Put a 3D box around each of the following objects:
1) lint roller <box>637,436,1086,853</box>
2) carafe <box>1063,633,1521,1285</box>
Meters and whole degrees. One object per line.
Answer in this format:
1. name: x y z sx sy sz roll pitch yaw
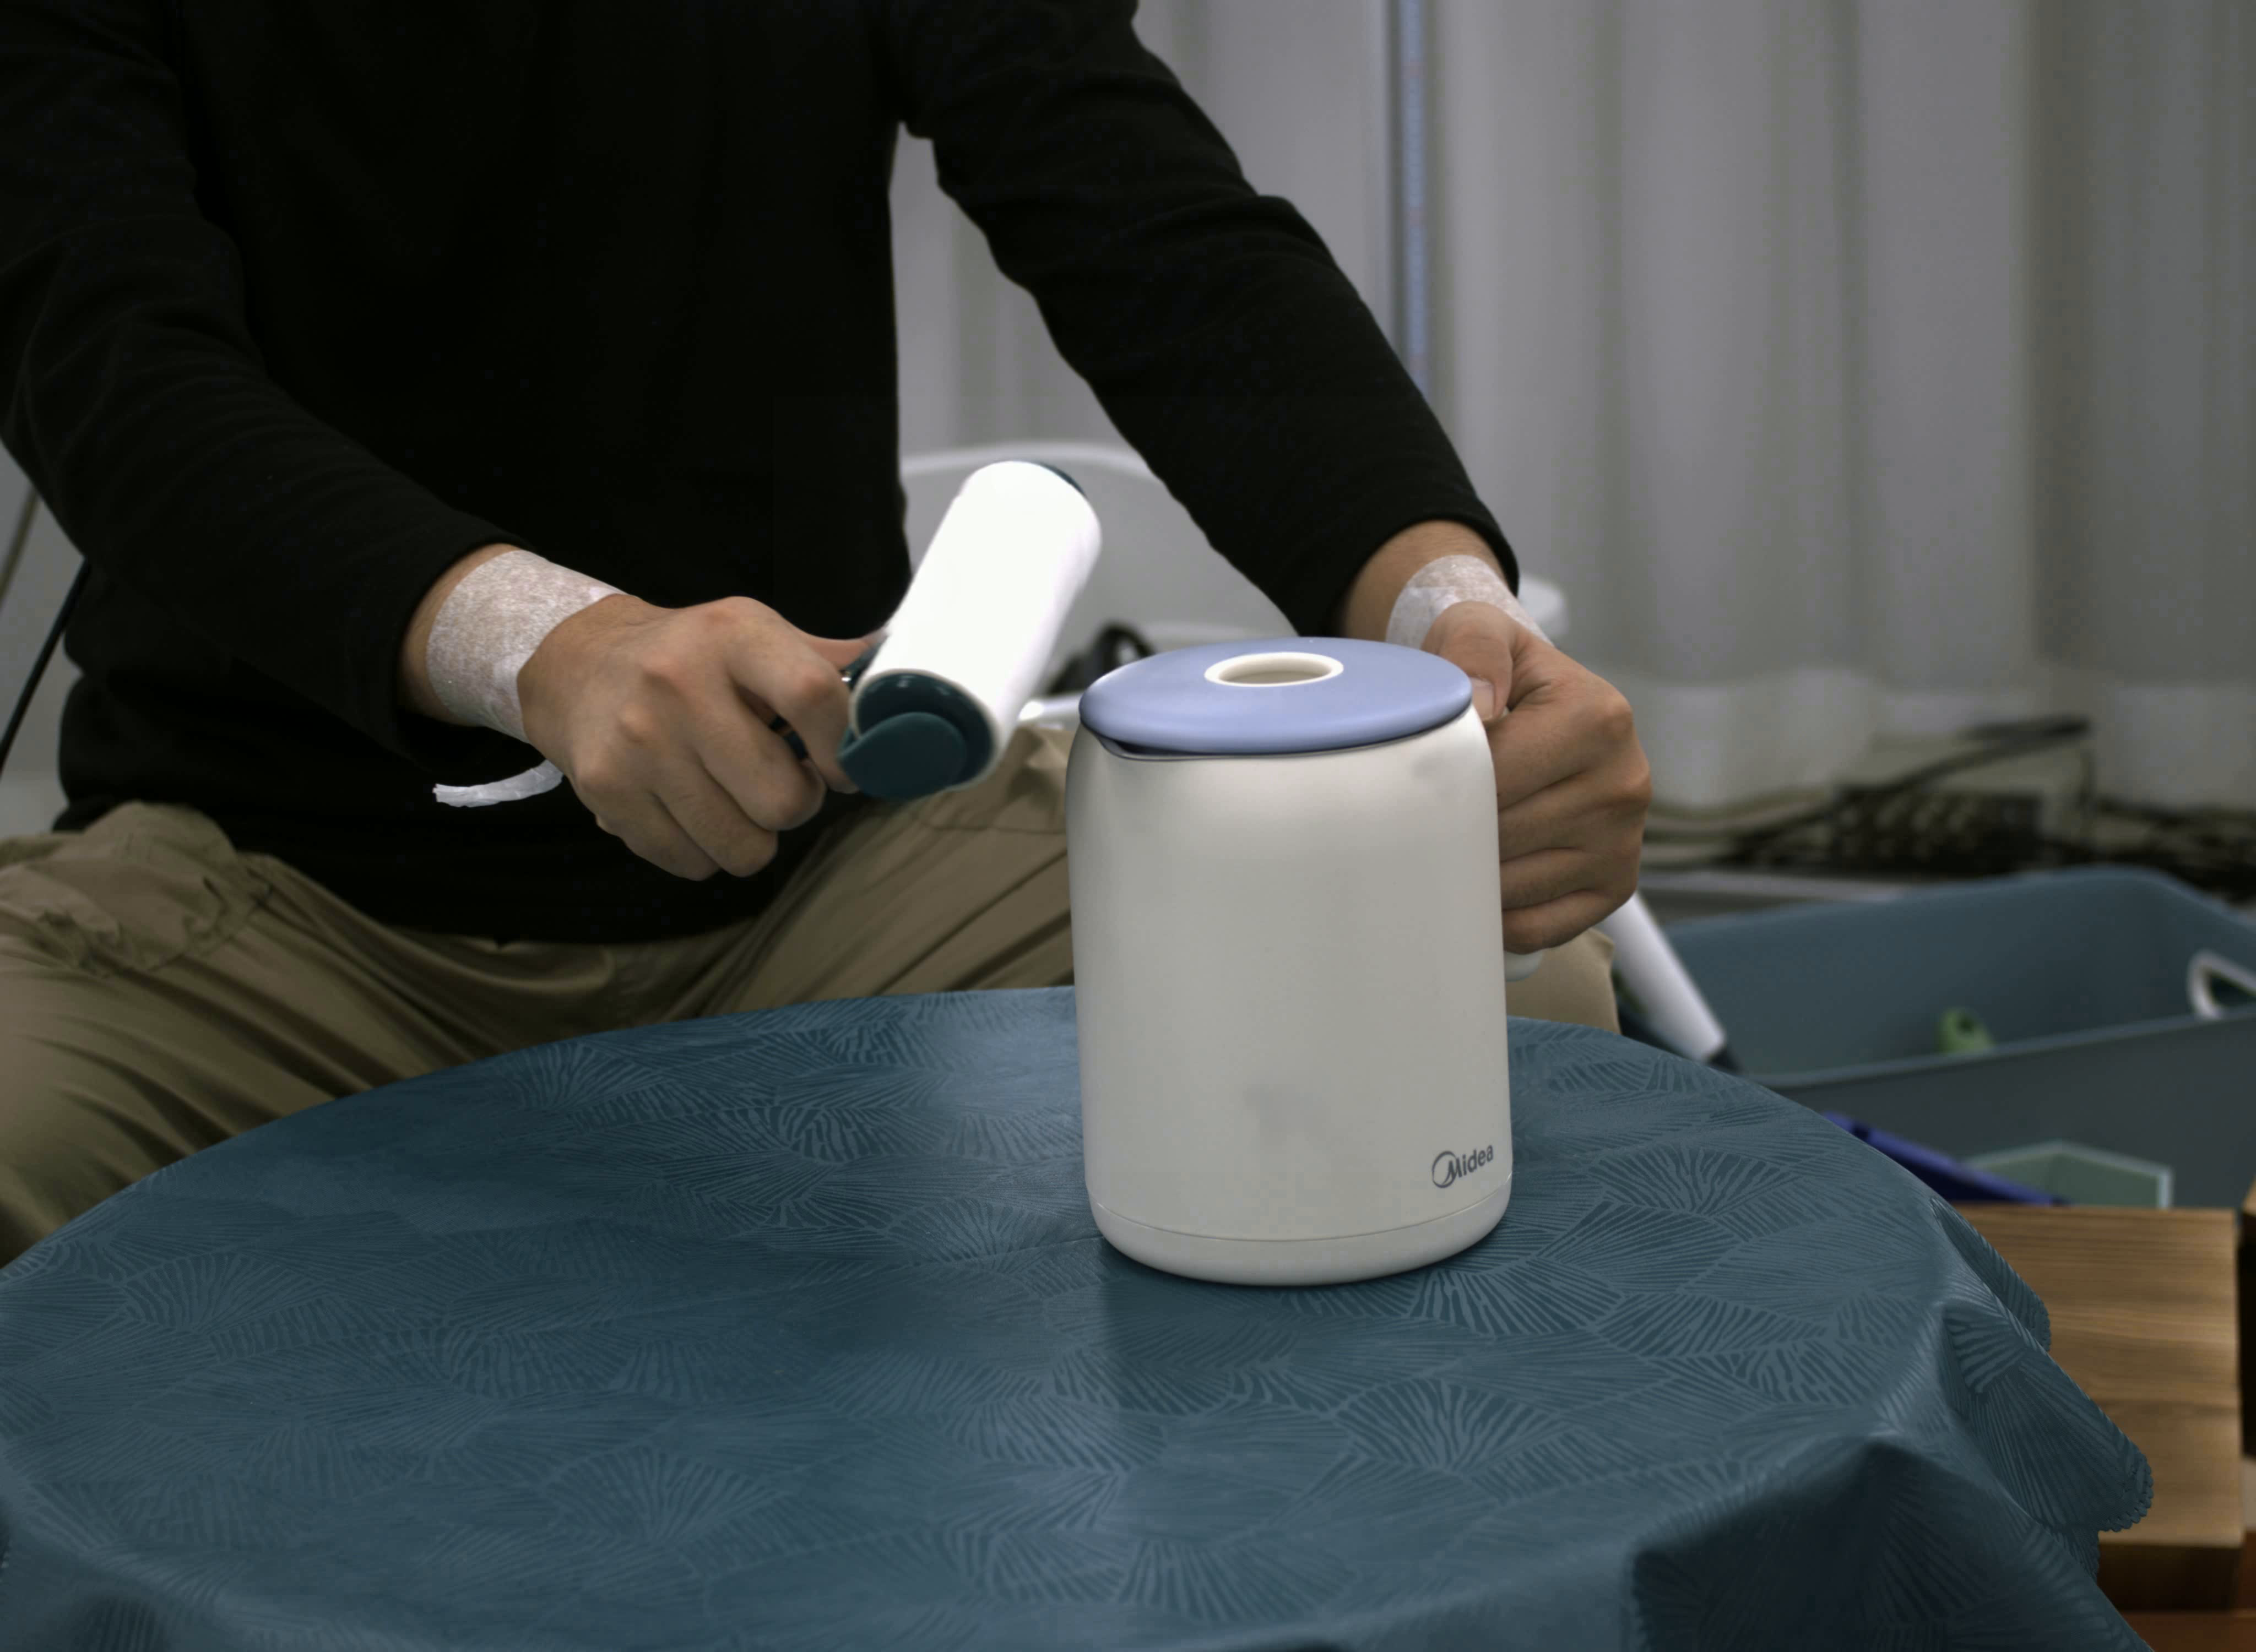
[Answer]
1. lint roller: -0.098 -0.040 1.667 0.179 0.048 0.136 -23 28 36
2. carafe: 0.063 0.034 1.674 0.133 0.182 0.191 9 16 38
